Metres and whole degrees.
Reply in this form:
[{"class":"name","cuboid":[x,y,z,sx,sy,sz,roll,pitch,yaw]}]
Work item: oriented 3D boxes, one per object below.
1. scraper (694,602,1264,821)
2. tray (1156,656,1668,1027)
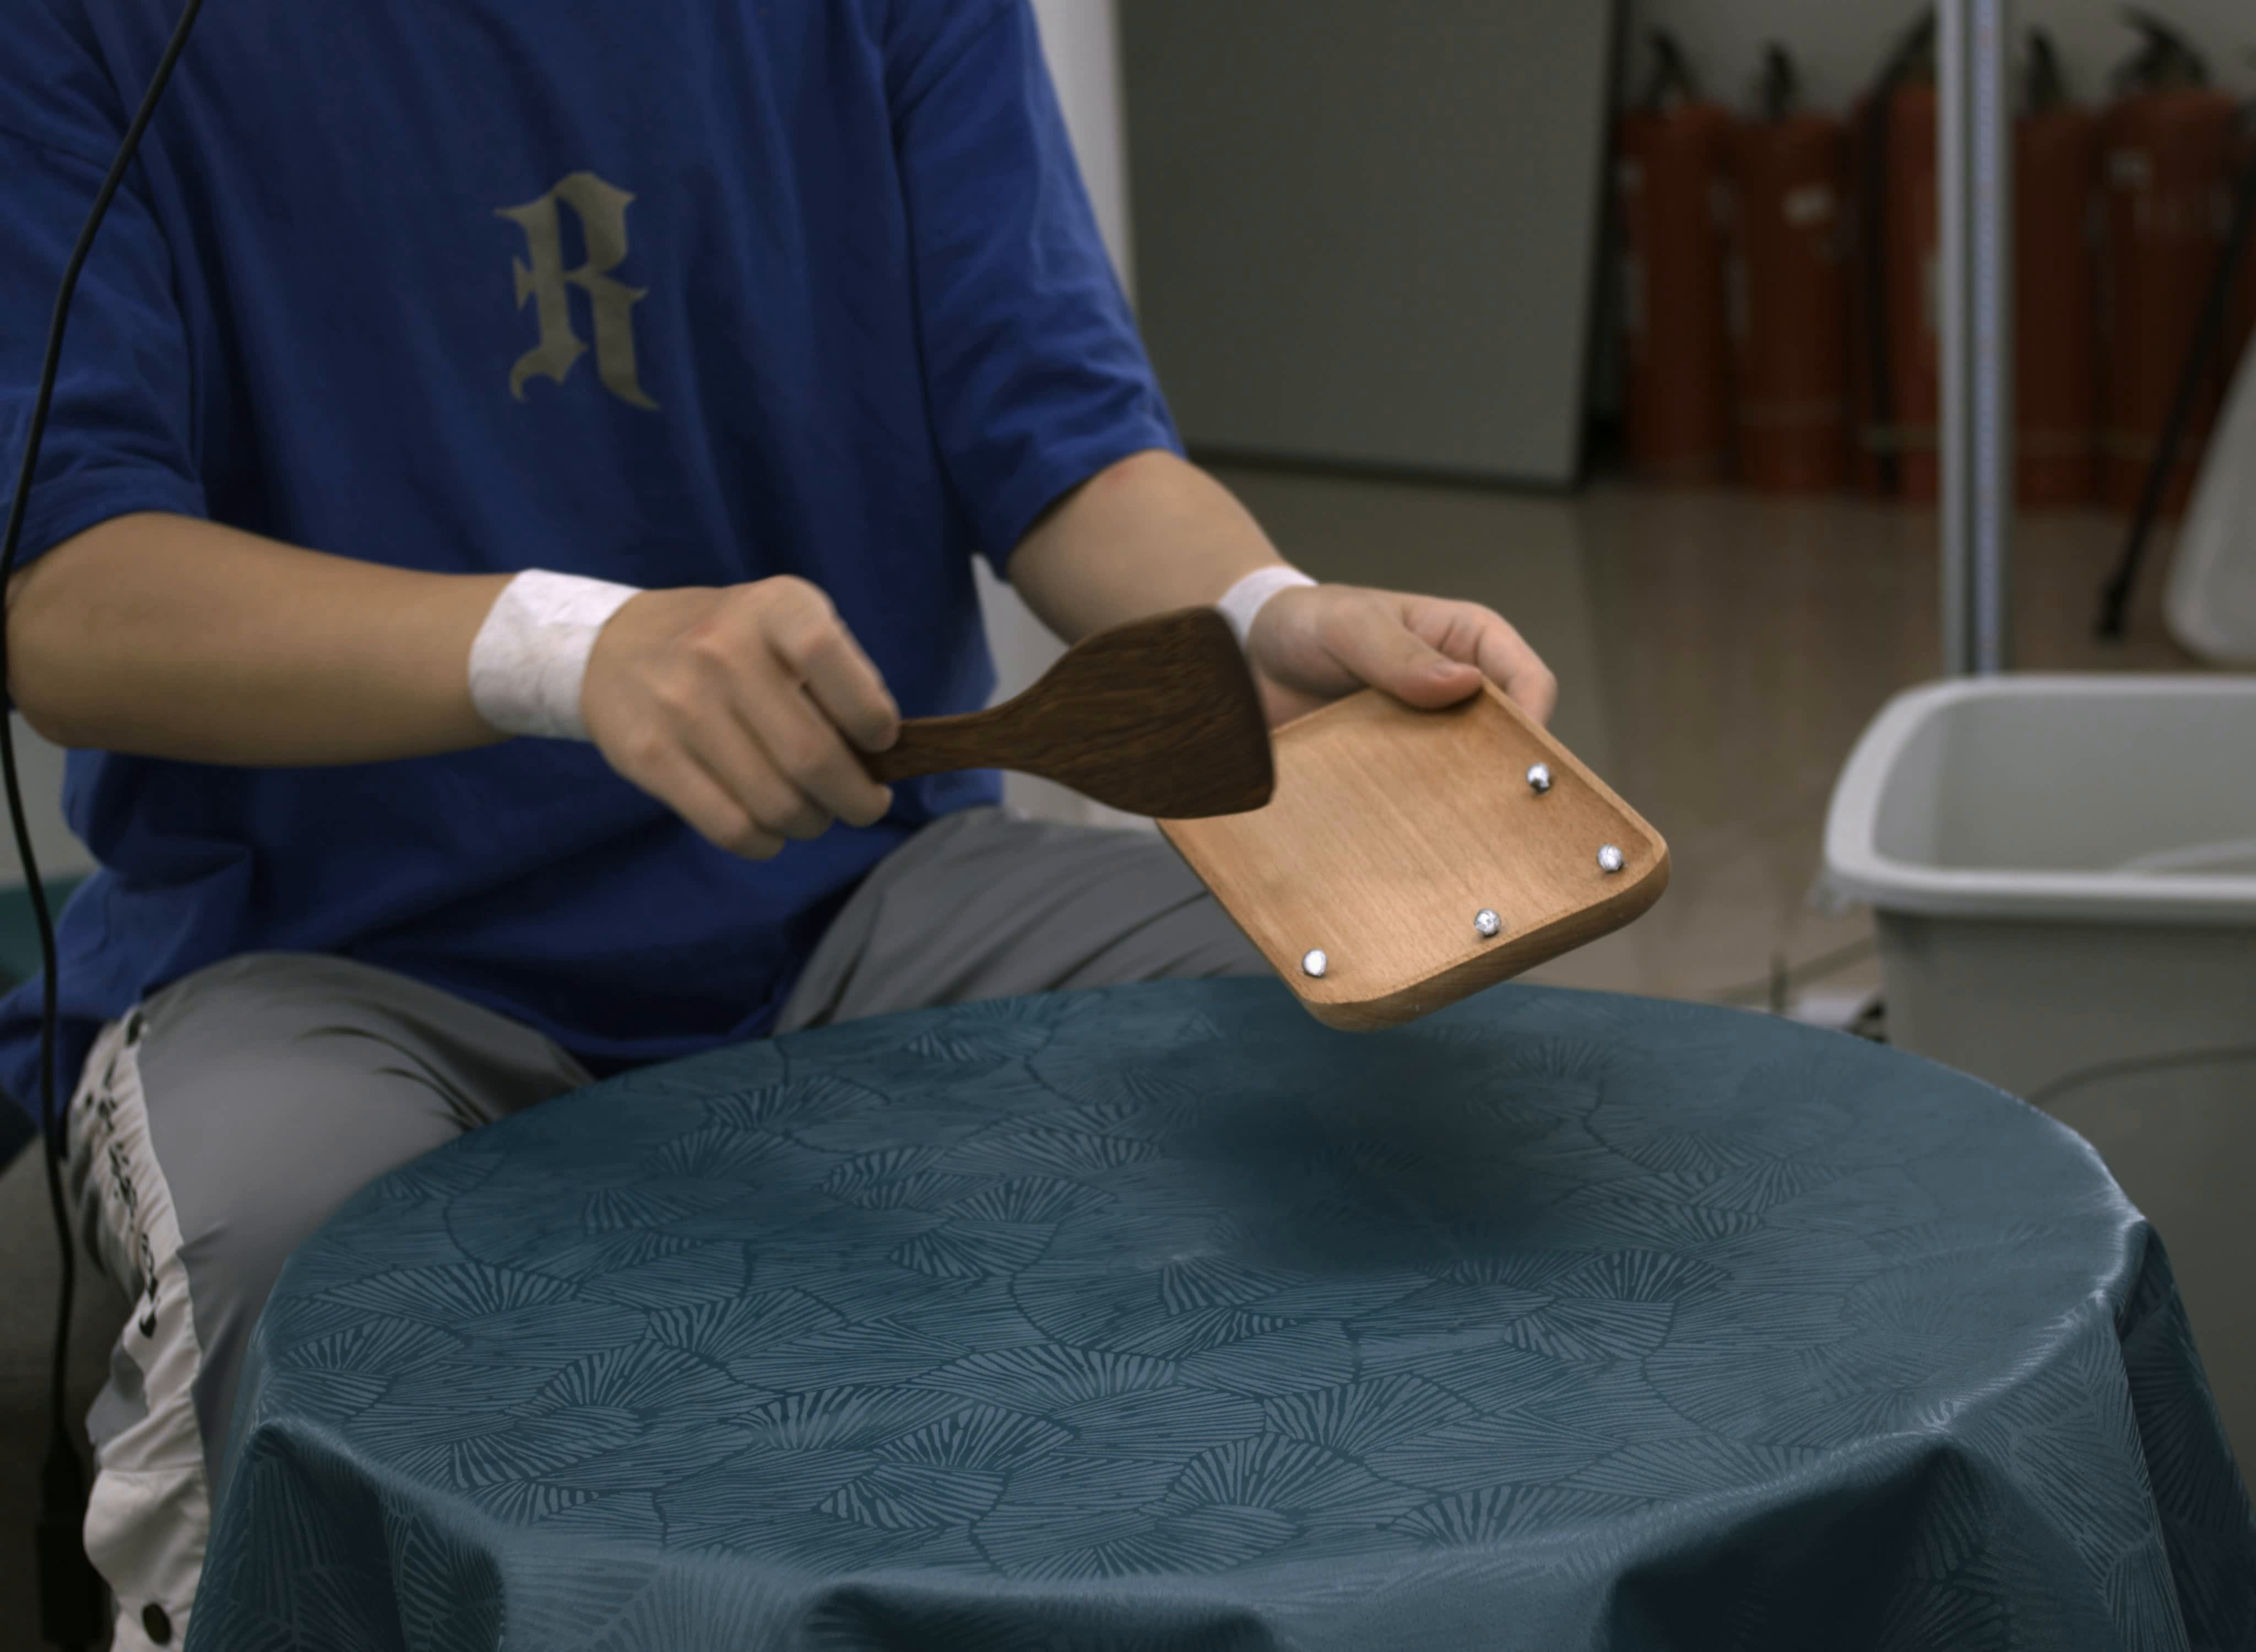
[{"class":"scraper","cuboid":[-0.054,-0.028,1.778,0.212,0.076,0.011,-6,26,31]},{"class":"tray","cuboid":[0.090,0.003,1.779,0.129,0.023,0.252,-22,20,-5]}]
